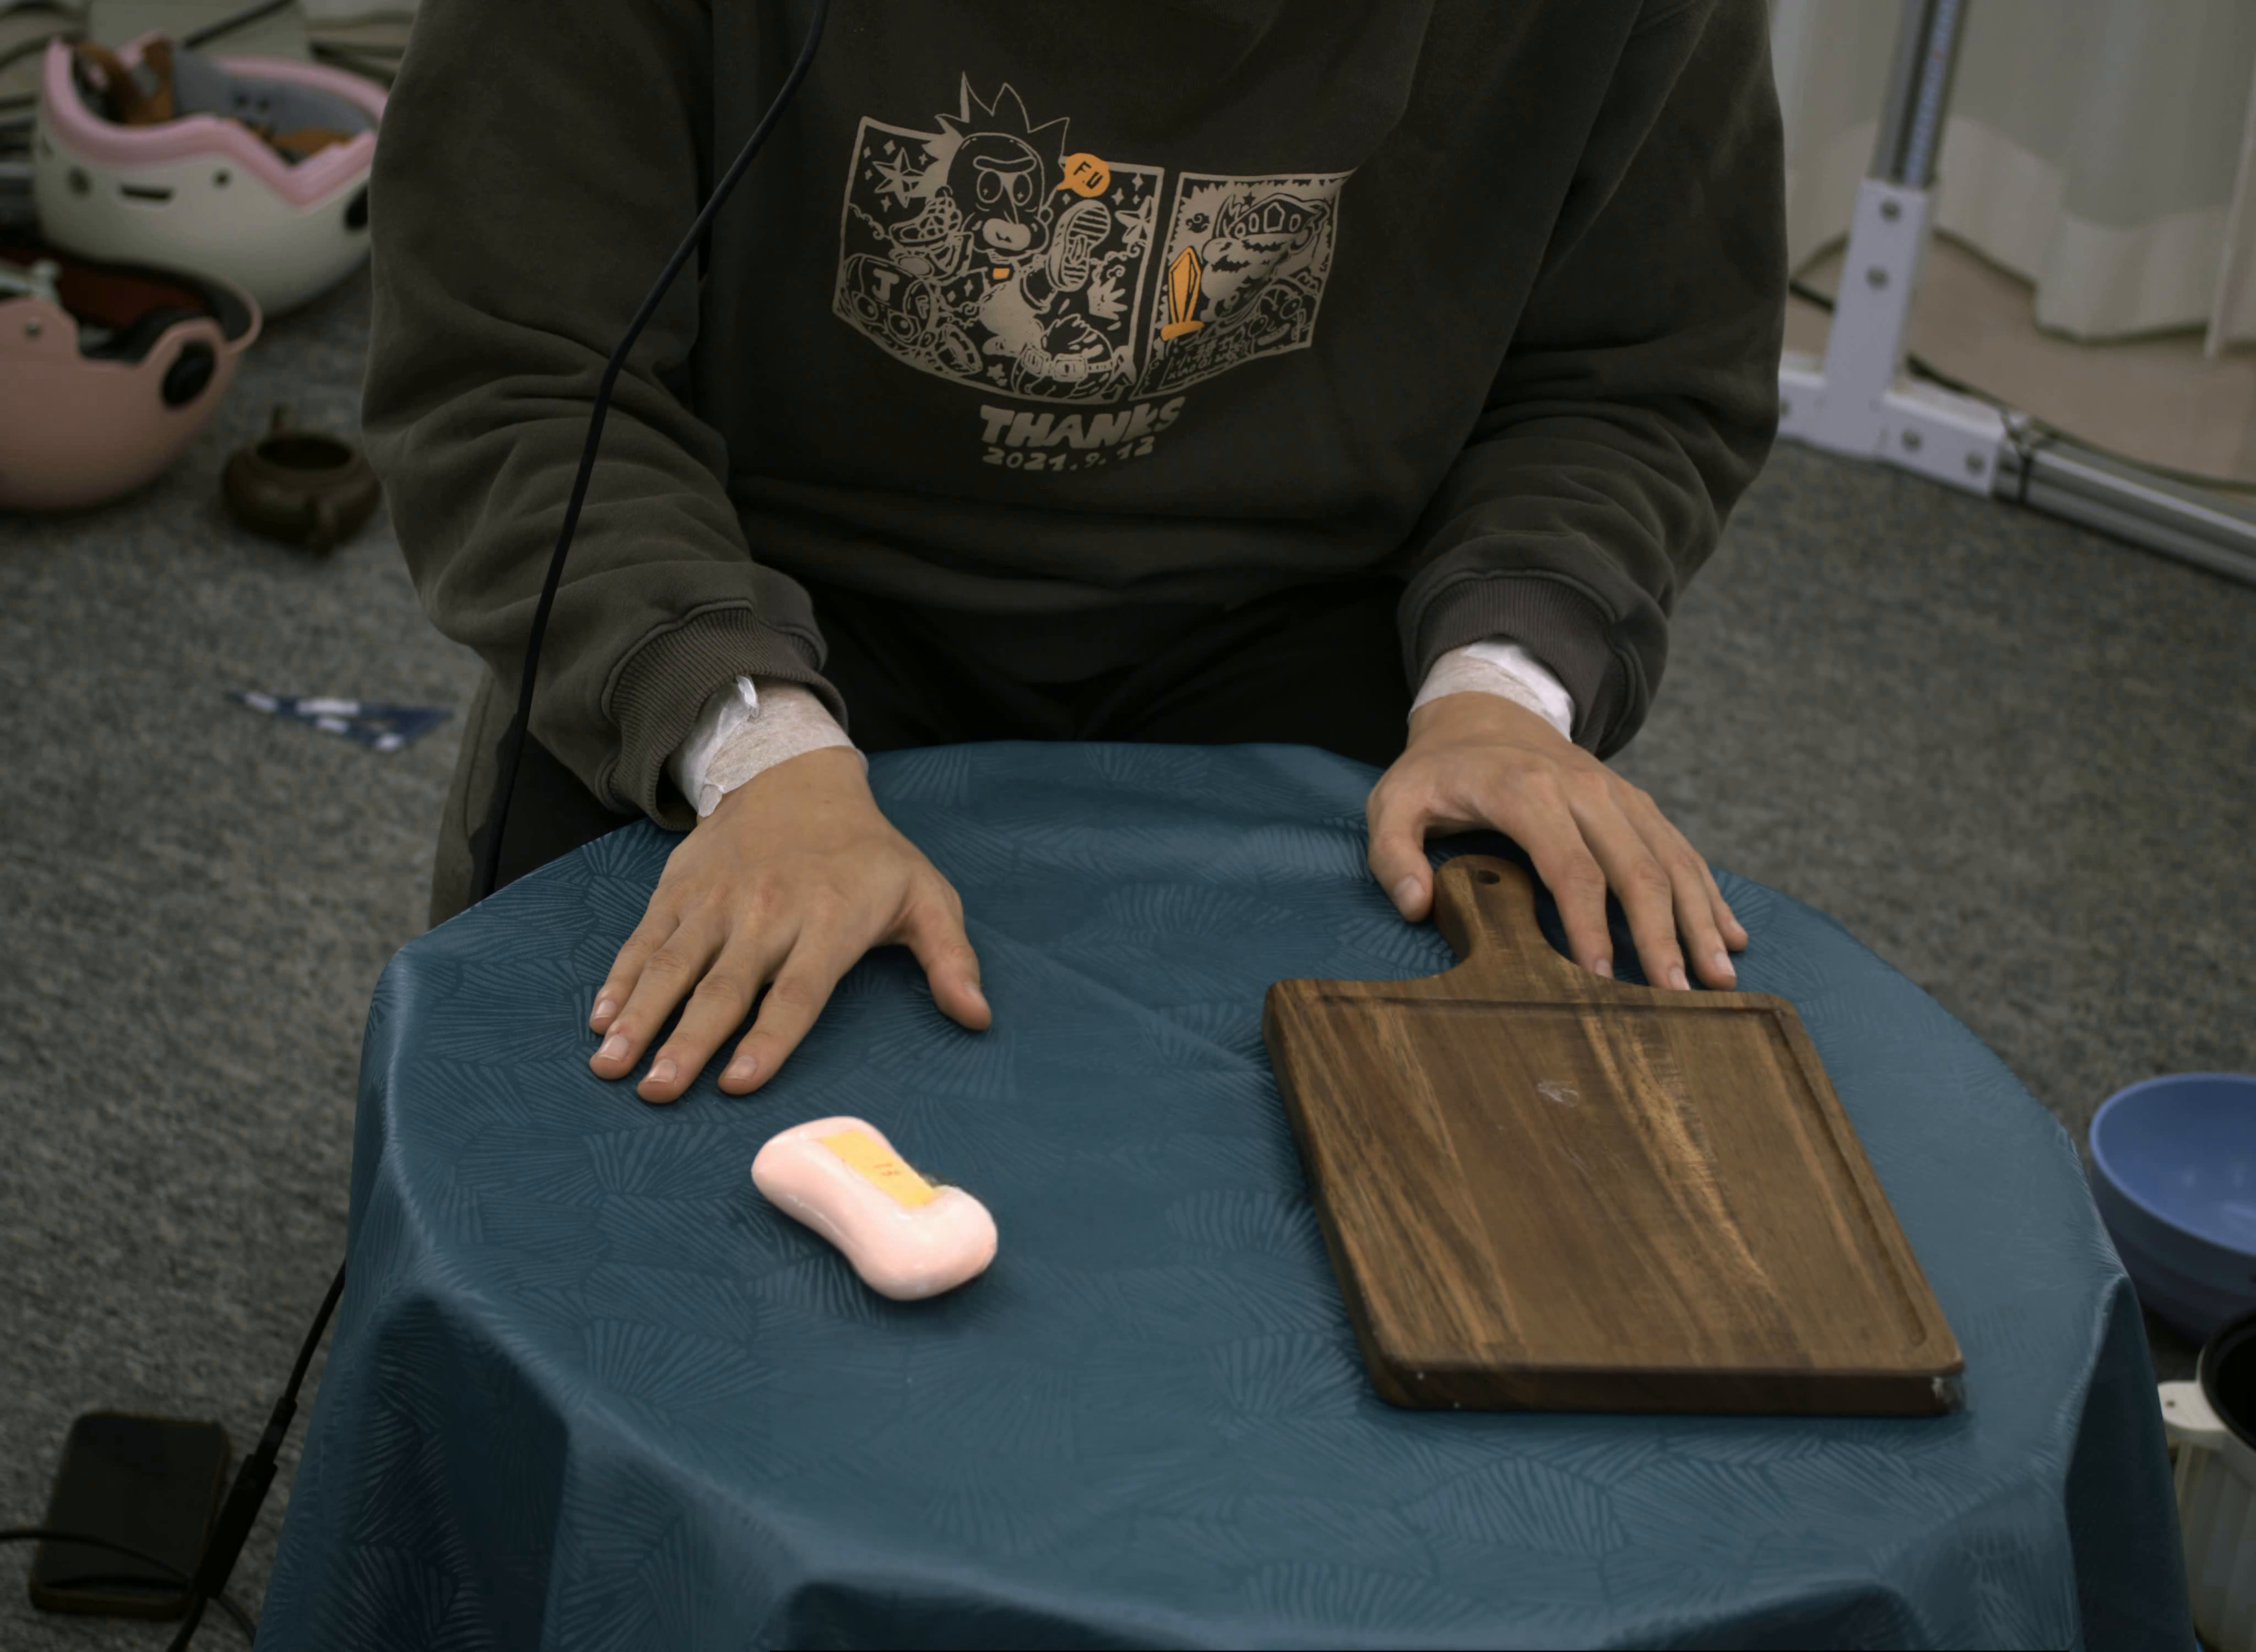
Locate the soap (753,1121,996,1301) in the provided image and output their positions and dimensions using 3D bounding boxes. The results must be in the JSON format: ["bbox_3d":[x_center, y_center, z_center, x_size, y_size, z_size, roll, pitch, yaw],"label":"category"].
[{"bbox_3d":[-0.084,0.126,1.749,0.050,0.030,0.095,-12,30,-34],"label":"soap"}]

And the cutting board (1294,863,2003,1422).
[{"bbox_3d":[0.166,0.103,1.859,0.200,0.023,0.355,2,27,-8],"label":"cutting board"}]
